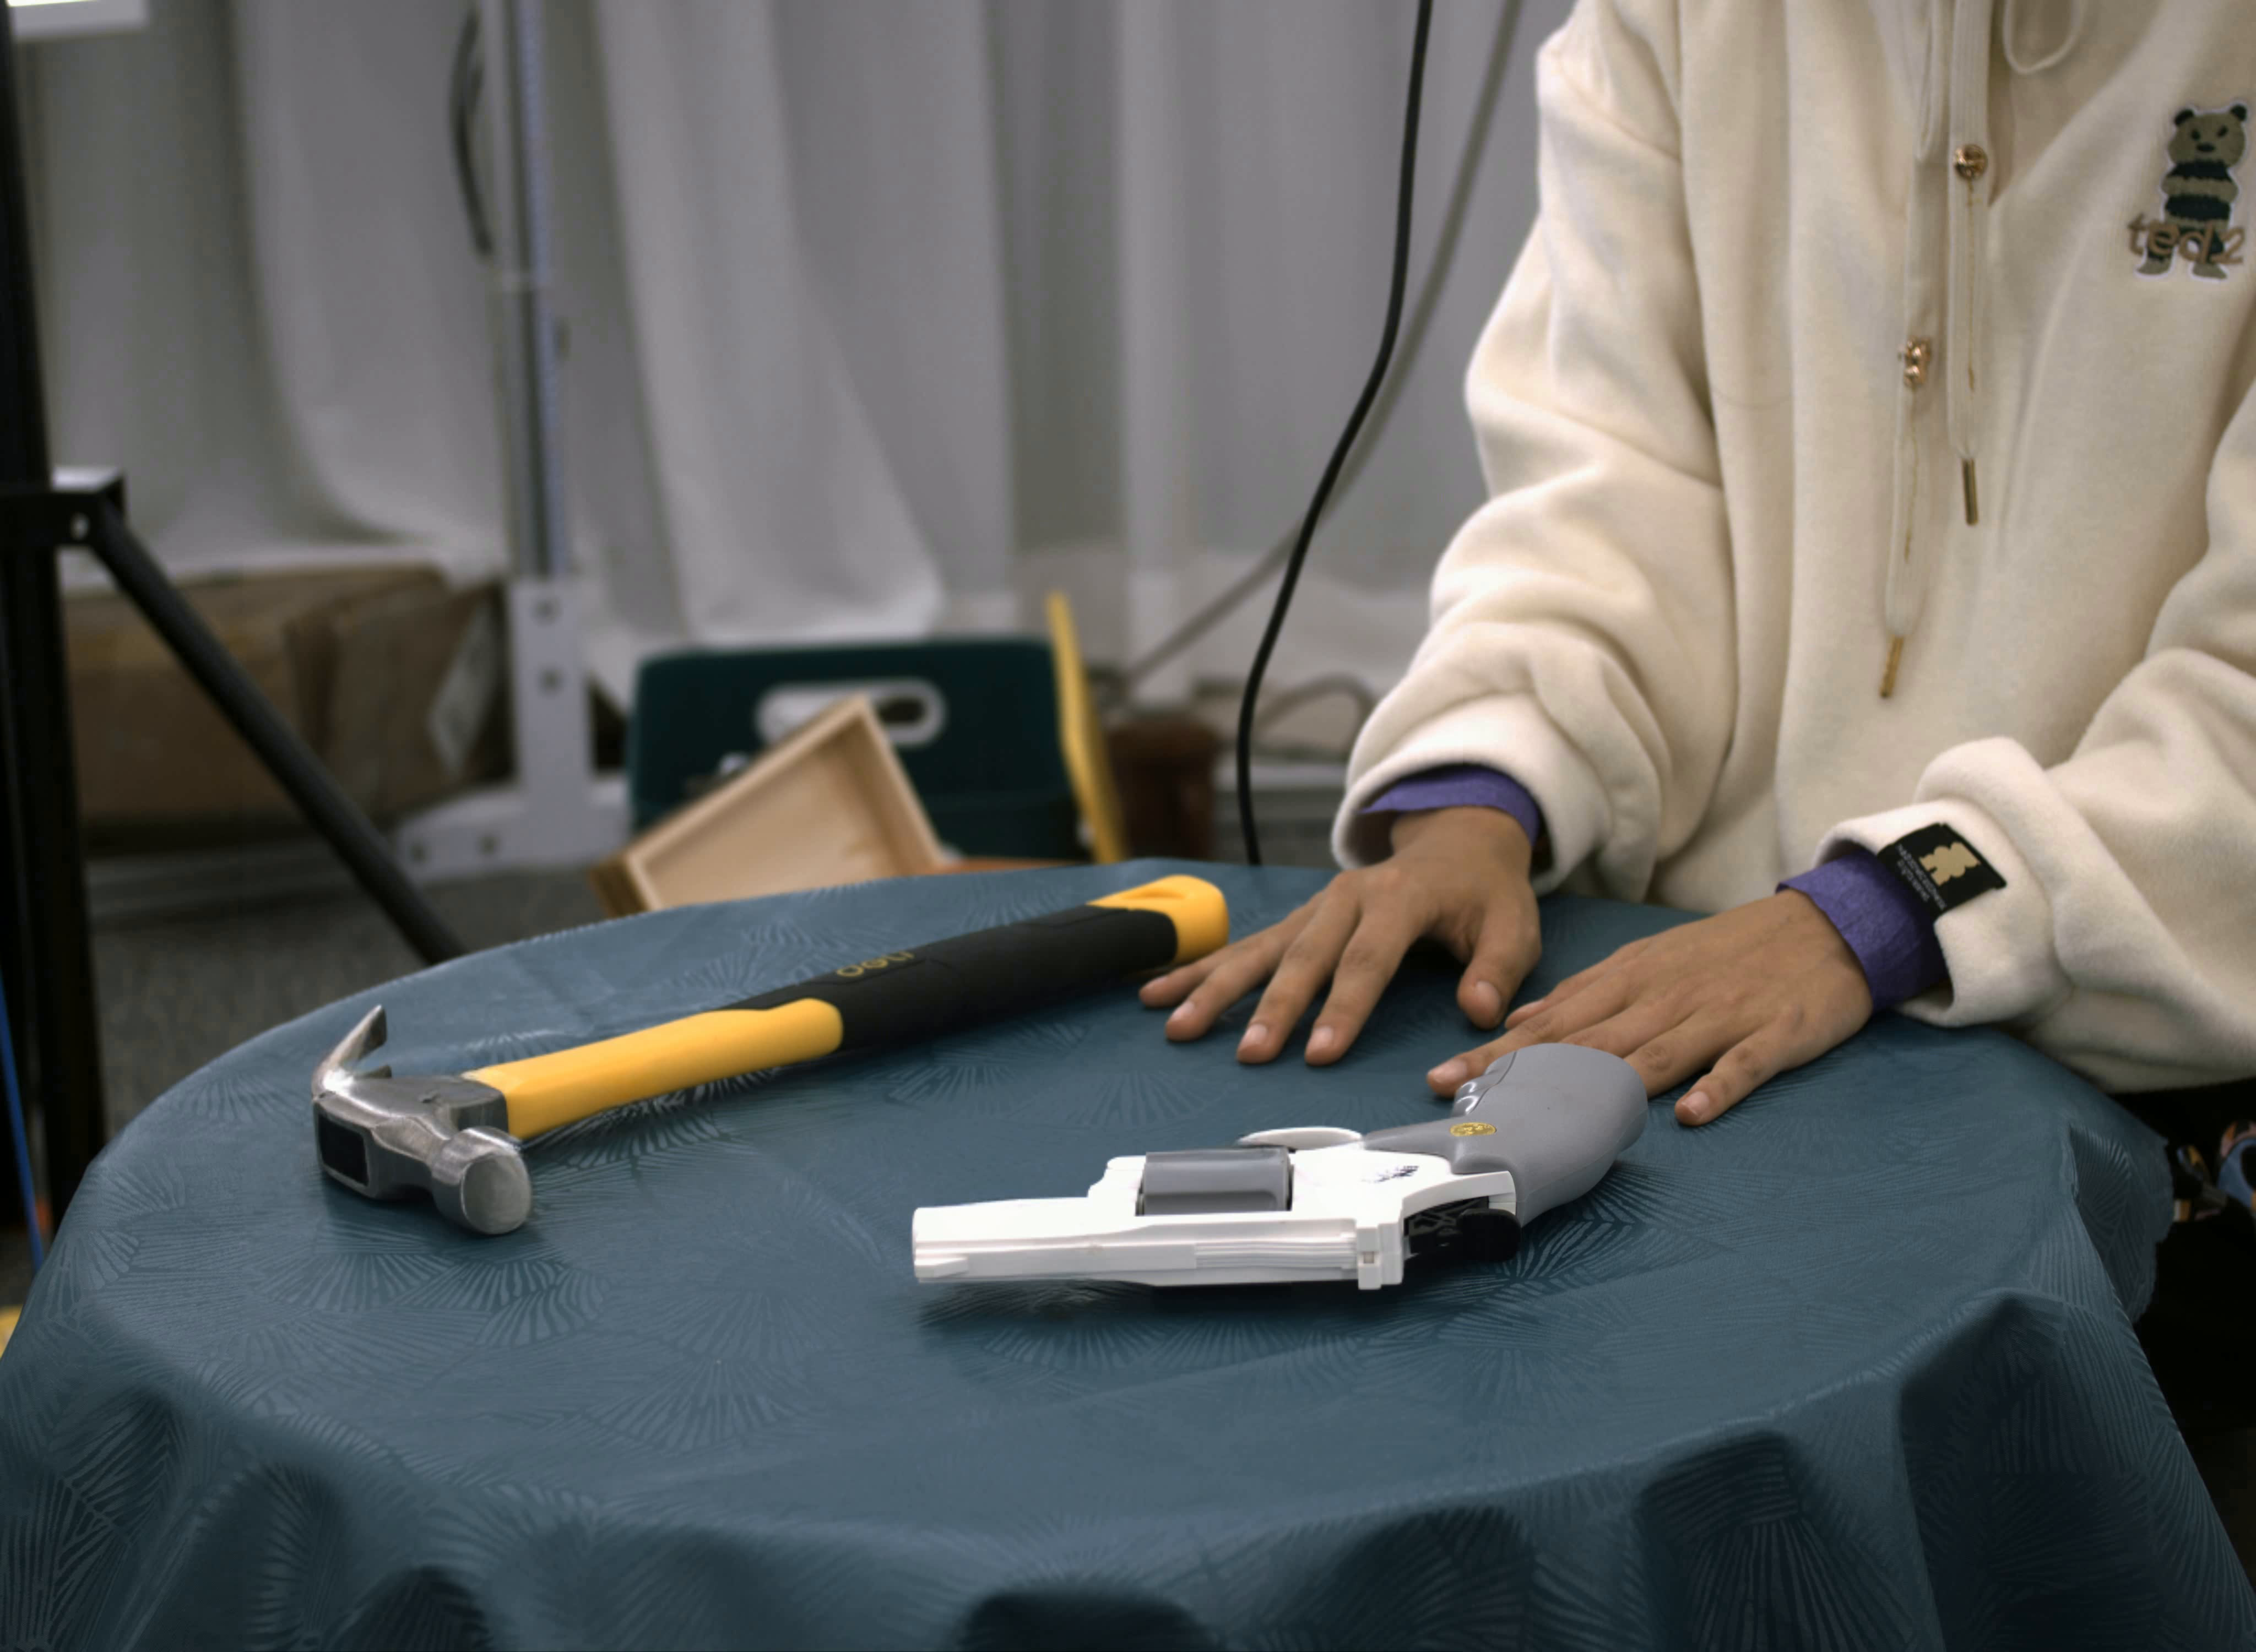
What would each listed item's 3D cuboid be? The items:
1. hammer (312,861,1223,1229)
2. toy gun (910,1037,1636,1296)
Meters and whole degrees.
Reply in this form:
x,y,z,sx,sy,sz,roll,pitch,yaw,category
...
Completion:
x,y,z,sx,sy,sz,roll,pitch,yaw,category
-0.105,0.059,1.682,0.331,0.032,0.134,-16,18,-36,hammer
0.045,0.100,1.507,0.208,0.039,0.142,-2,17,3,toy gun
